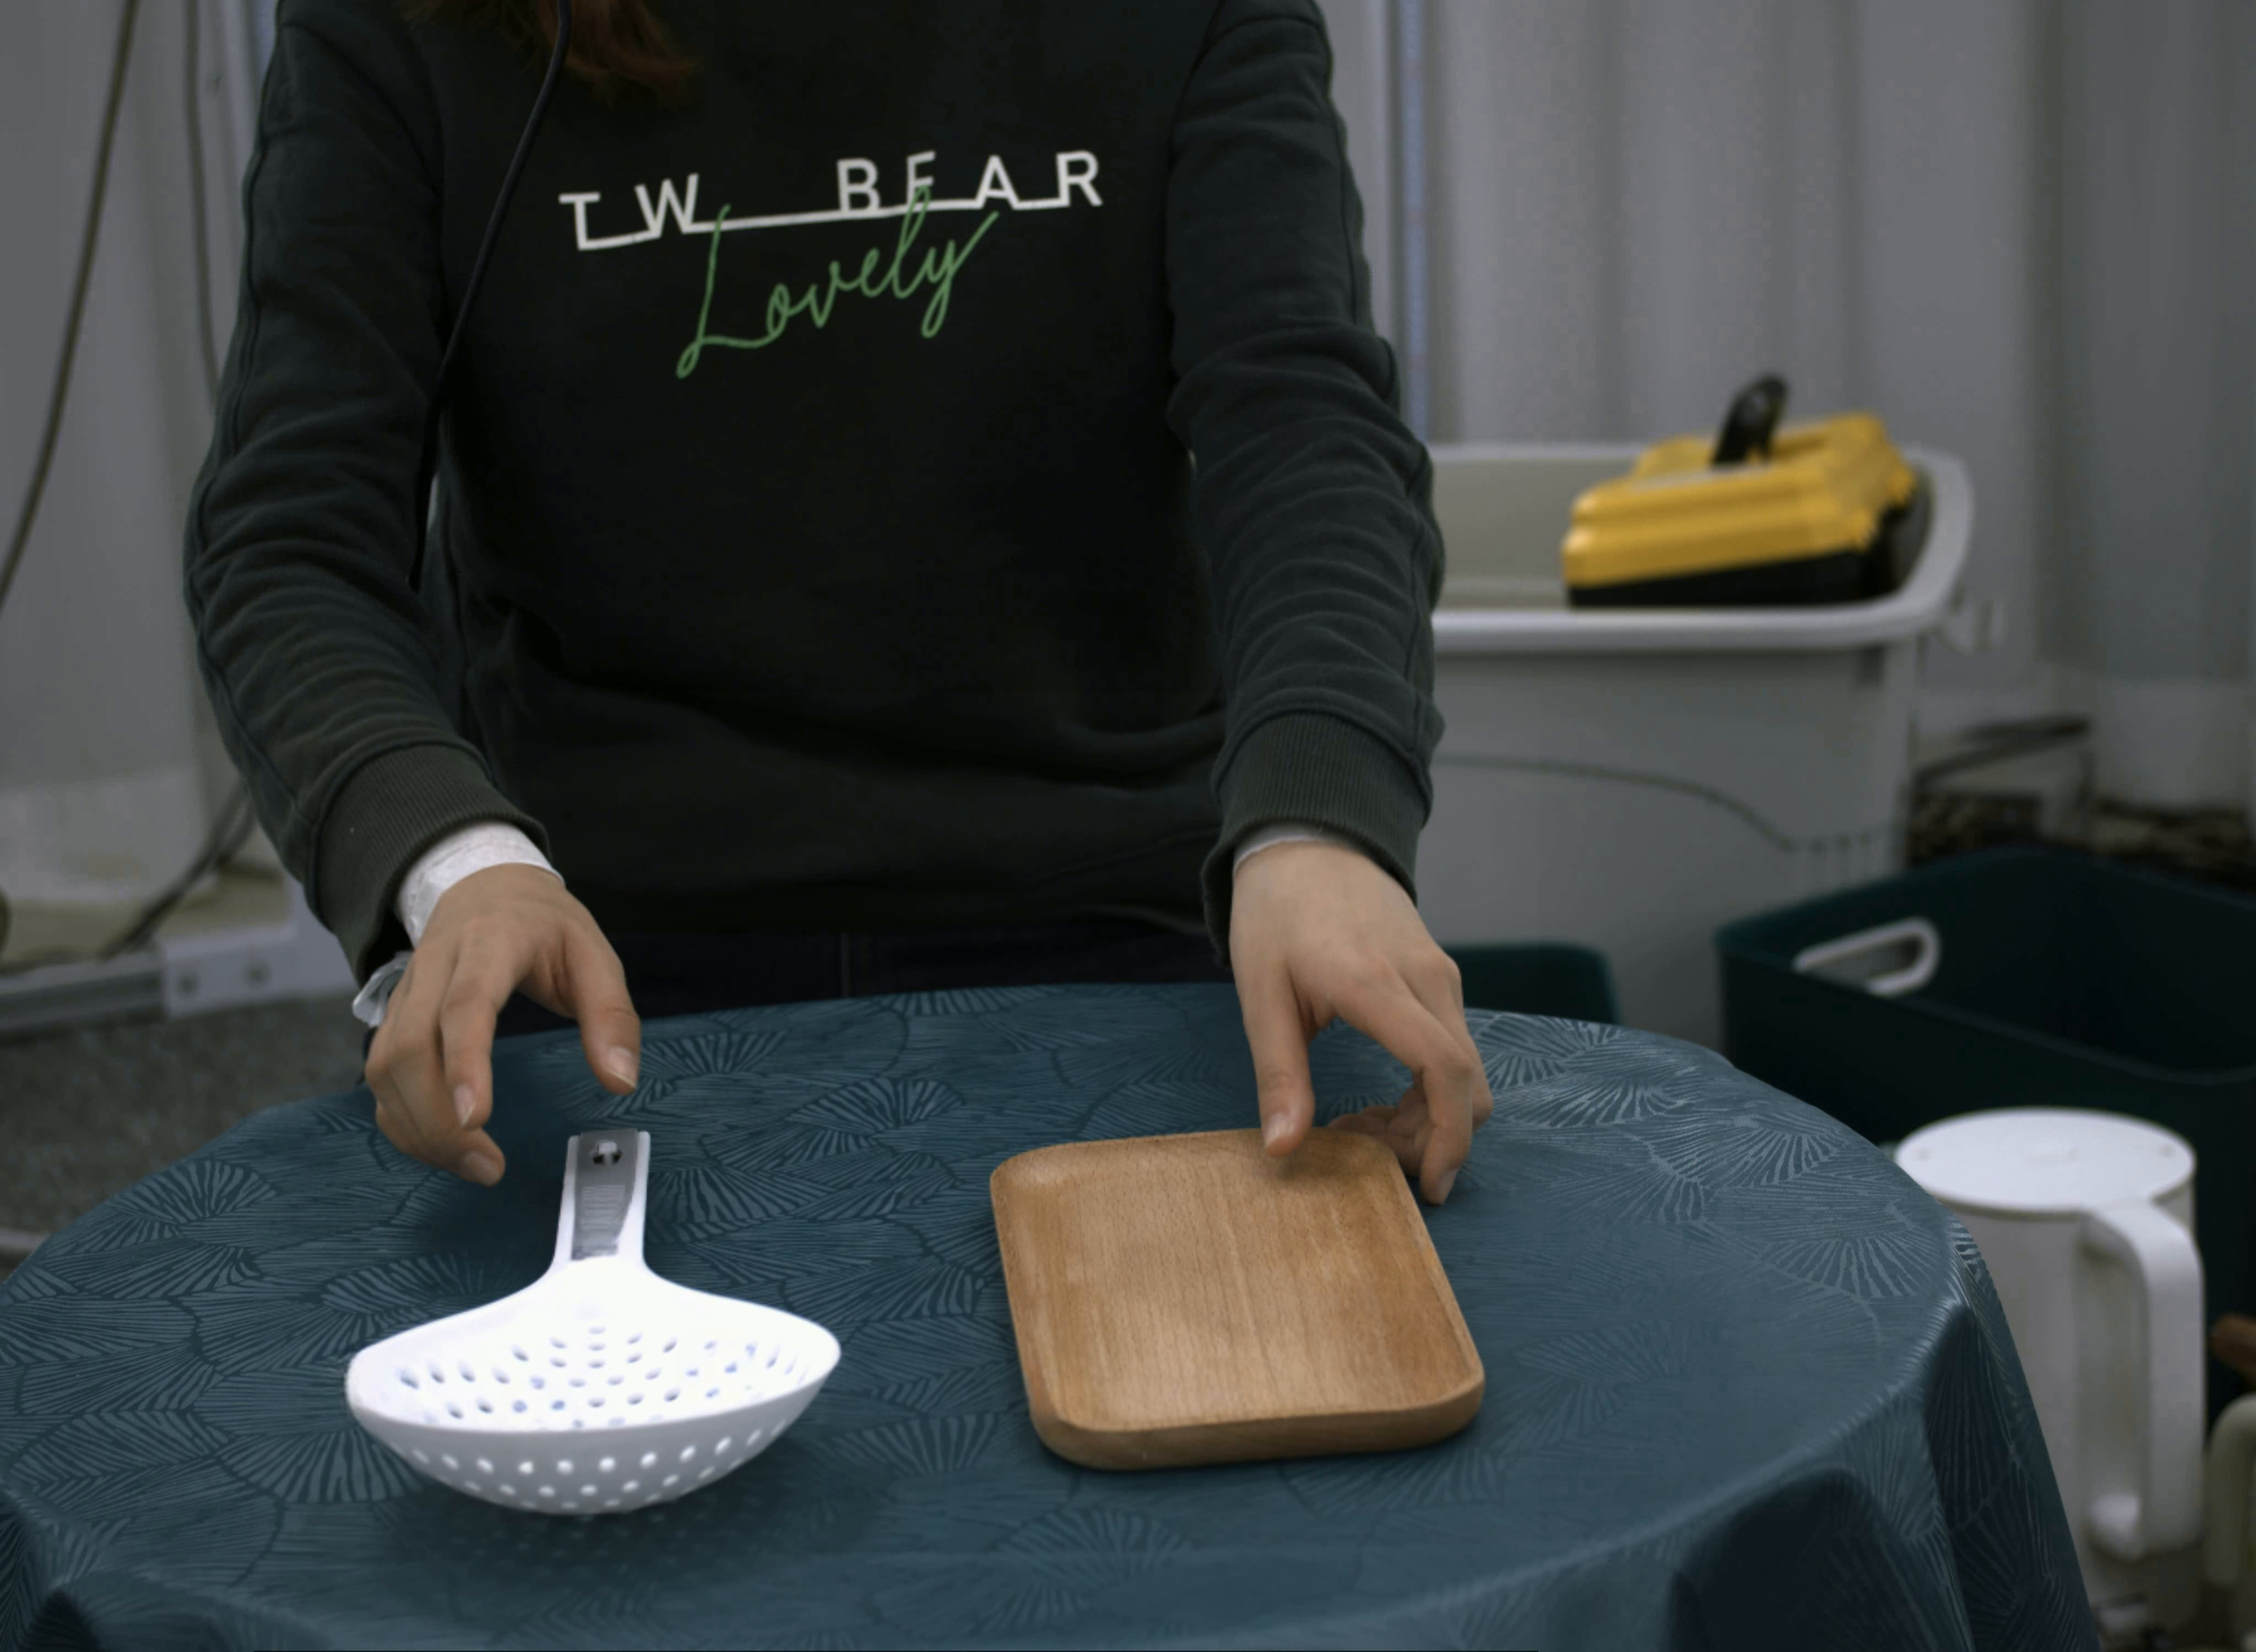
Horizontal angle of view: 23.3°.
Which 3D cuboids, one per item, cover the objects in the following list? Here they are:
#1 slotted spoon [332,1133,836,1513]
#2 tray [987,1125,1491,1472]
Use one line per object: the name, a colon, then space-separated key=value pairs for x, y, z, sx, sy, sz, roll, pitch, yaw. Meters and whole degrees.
slotted spoon: x=-0.154 y=0.134 z=1.583 sx=0.135 sy=0.045 sz=0.352 roll=-1 pitch=14 yaw=-4
tray: x=0.028 y=0.135 z=1.600 sx=0.130 sy=0.023 sz=0.252 roll=-2 pitch=14 yaw=-4
